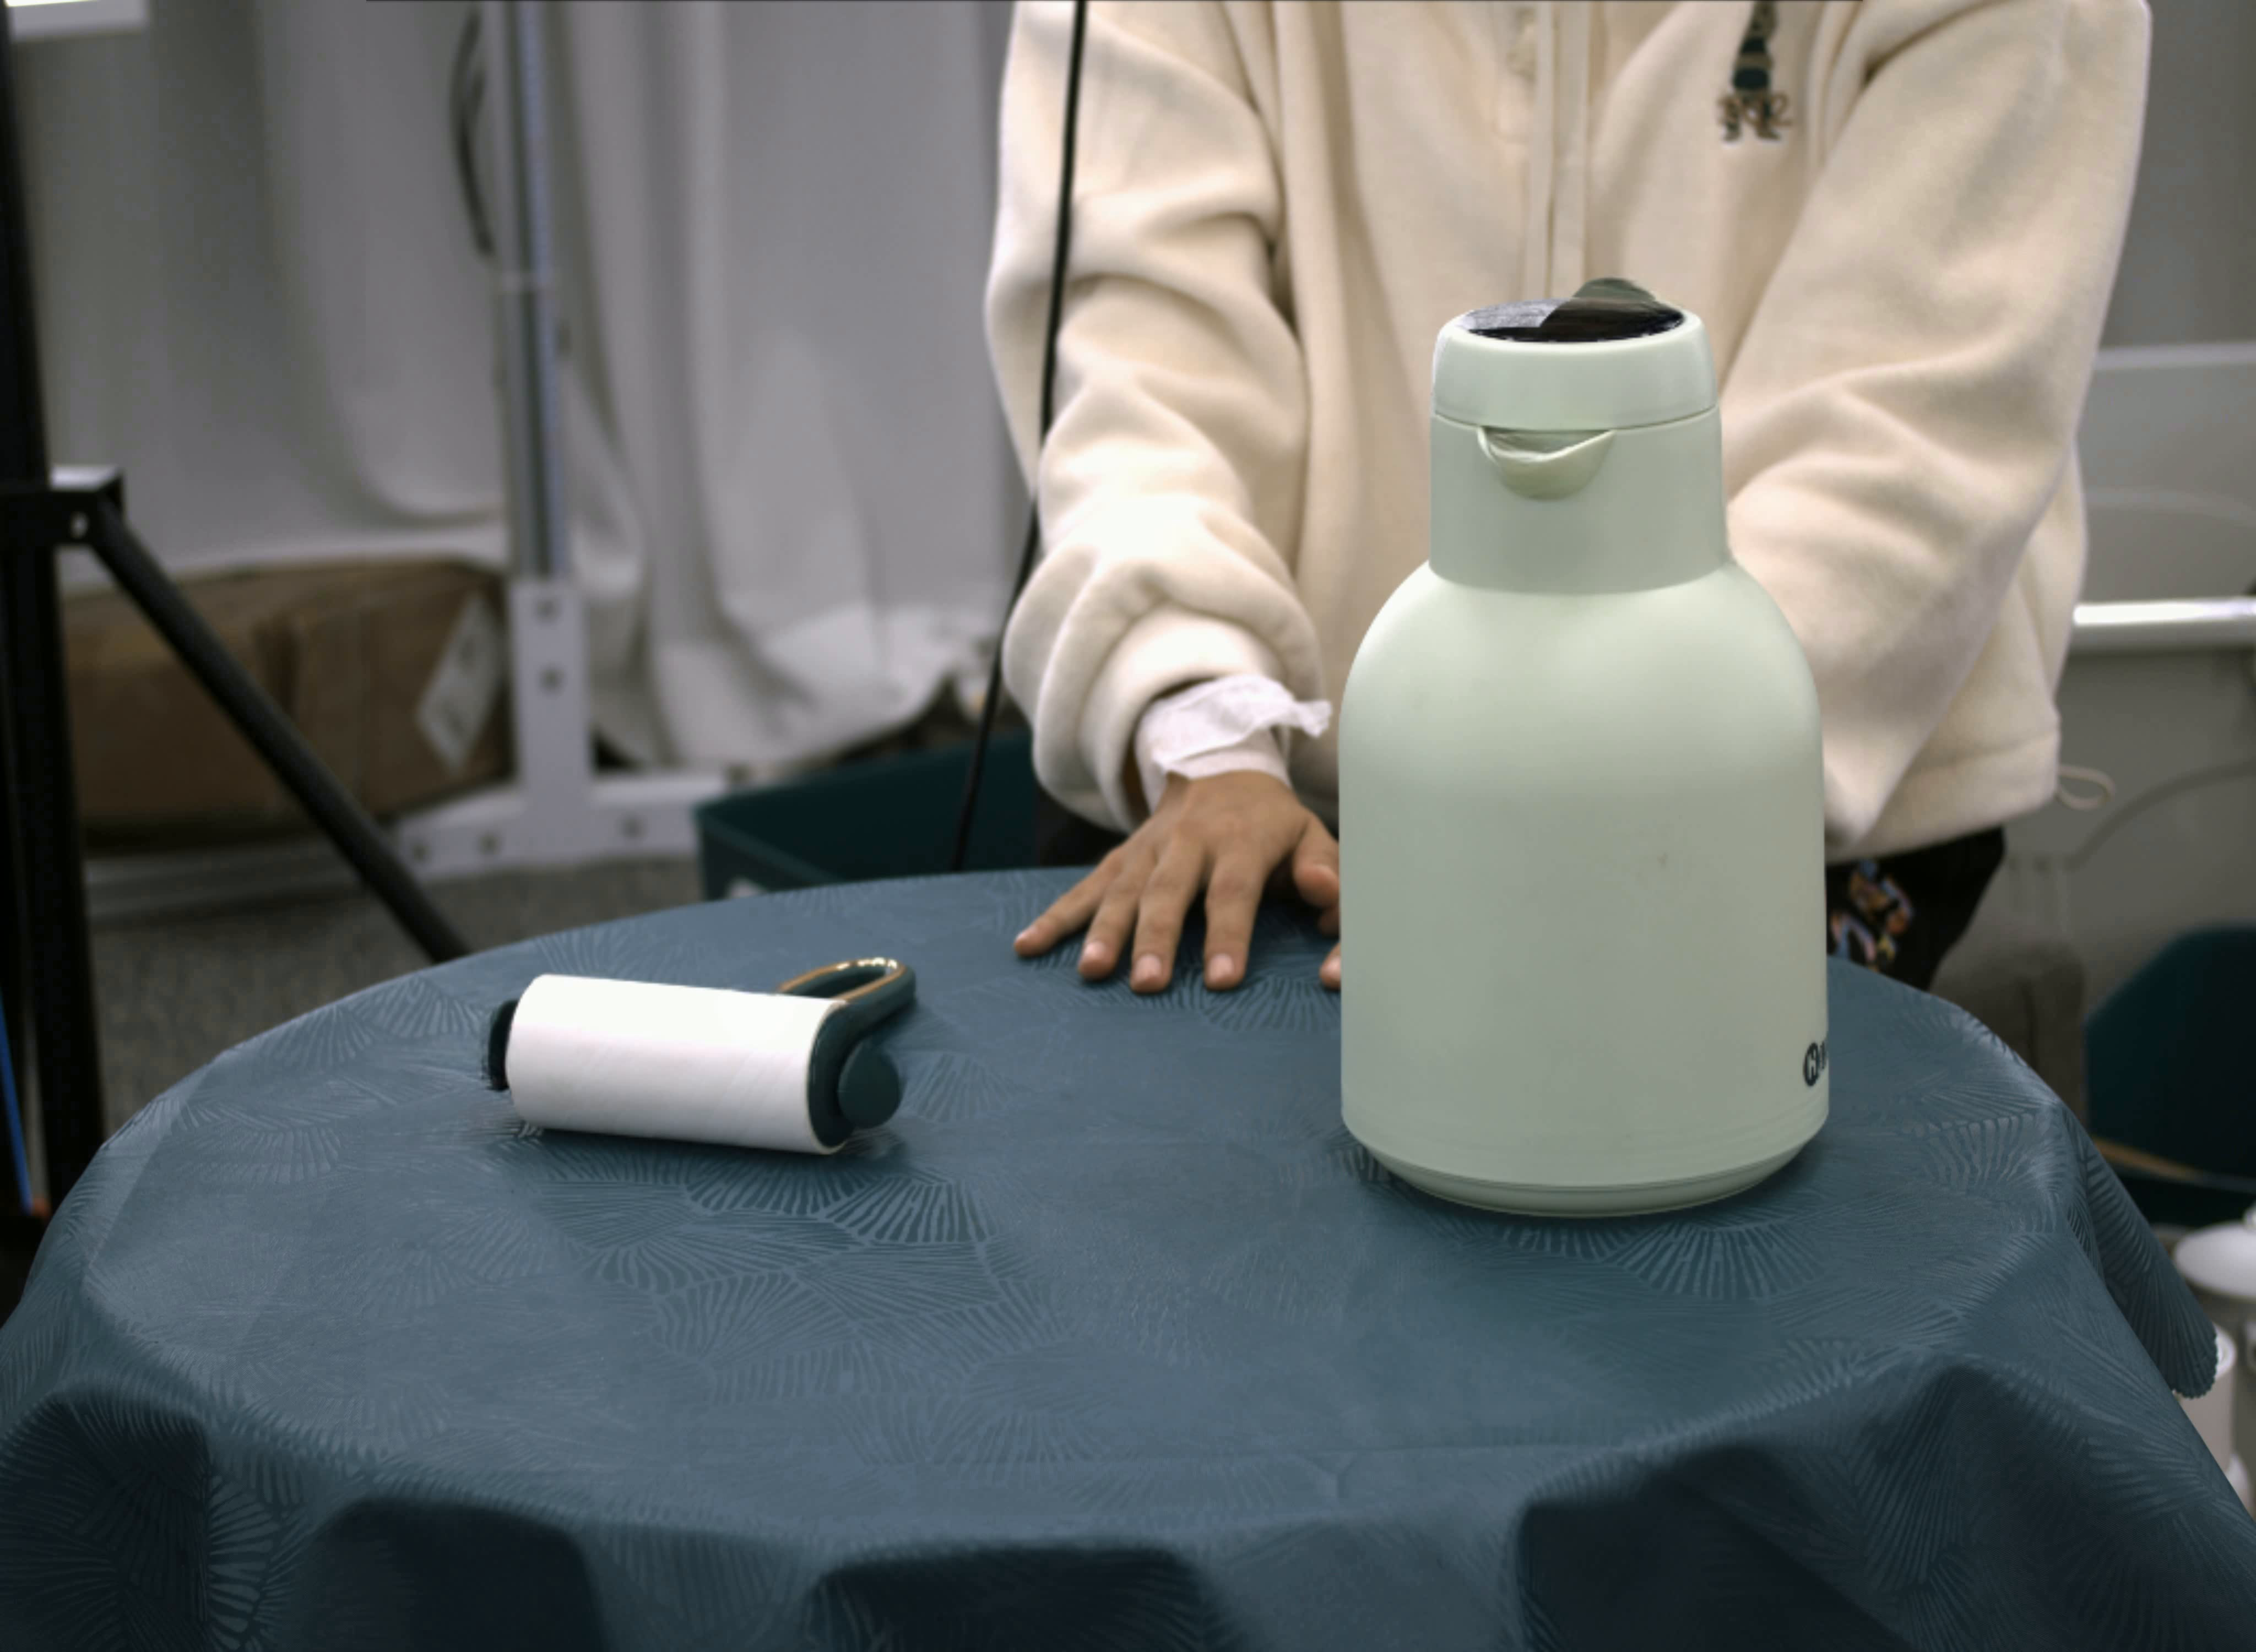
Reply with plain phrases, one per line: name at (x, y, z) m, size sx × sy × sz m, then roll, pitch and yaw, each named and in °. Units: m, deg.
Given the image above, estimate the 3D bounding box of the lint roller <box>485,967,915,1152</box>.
lint roller at (-0.110, 0.054, 1.679) m, size 0.136 × 0.048 × 0.178 m, roll 5°, pitch 17°, yaw 22°

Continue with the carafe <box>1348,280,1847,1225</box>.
carafe at (0.138, -0.026, 1.552) m, size 0.146 × 0.257 × 0.184 m, roll 1°, pitch 11°, yaw 19°
